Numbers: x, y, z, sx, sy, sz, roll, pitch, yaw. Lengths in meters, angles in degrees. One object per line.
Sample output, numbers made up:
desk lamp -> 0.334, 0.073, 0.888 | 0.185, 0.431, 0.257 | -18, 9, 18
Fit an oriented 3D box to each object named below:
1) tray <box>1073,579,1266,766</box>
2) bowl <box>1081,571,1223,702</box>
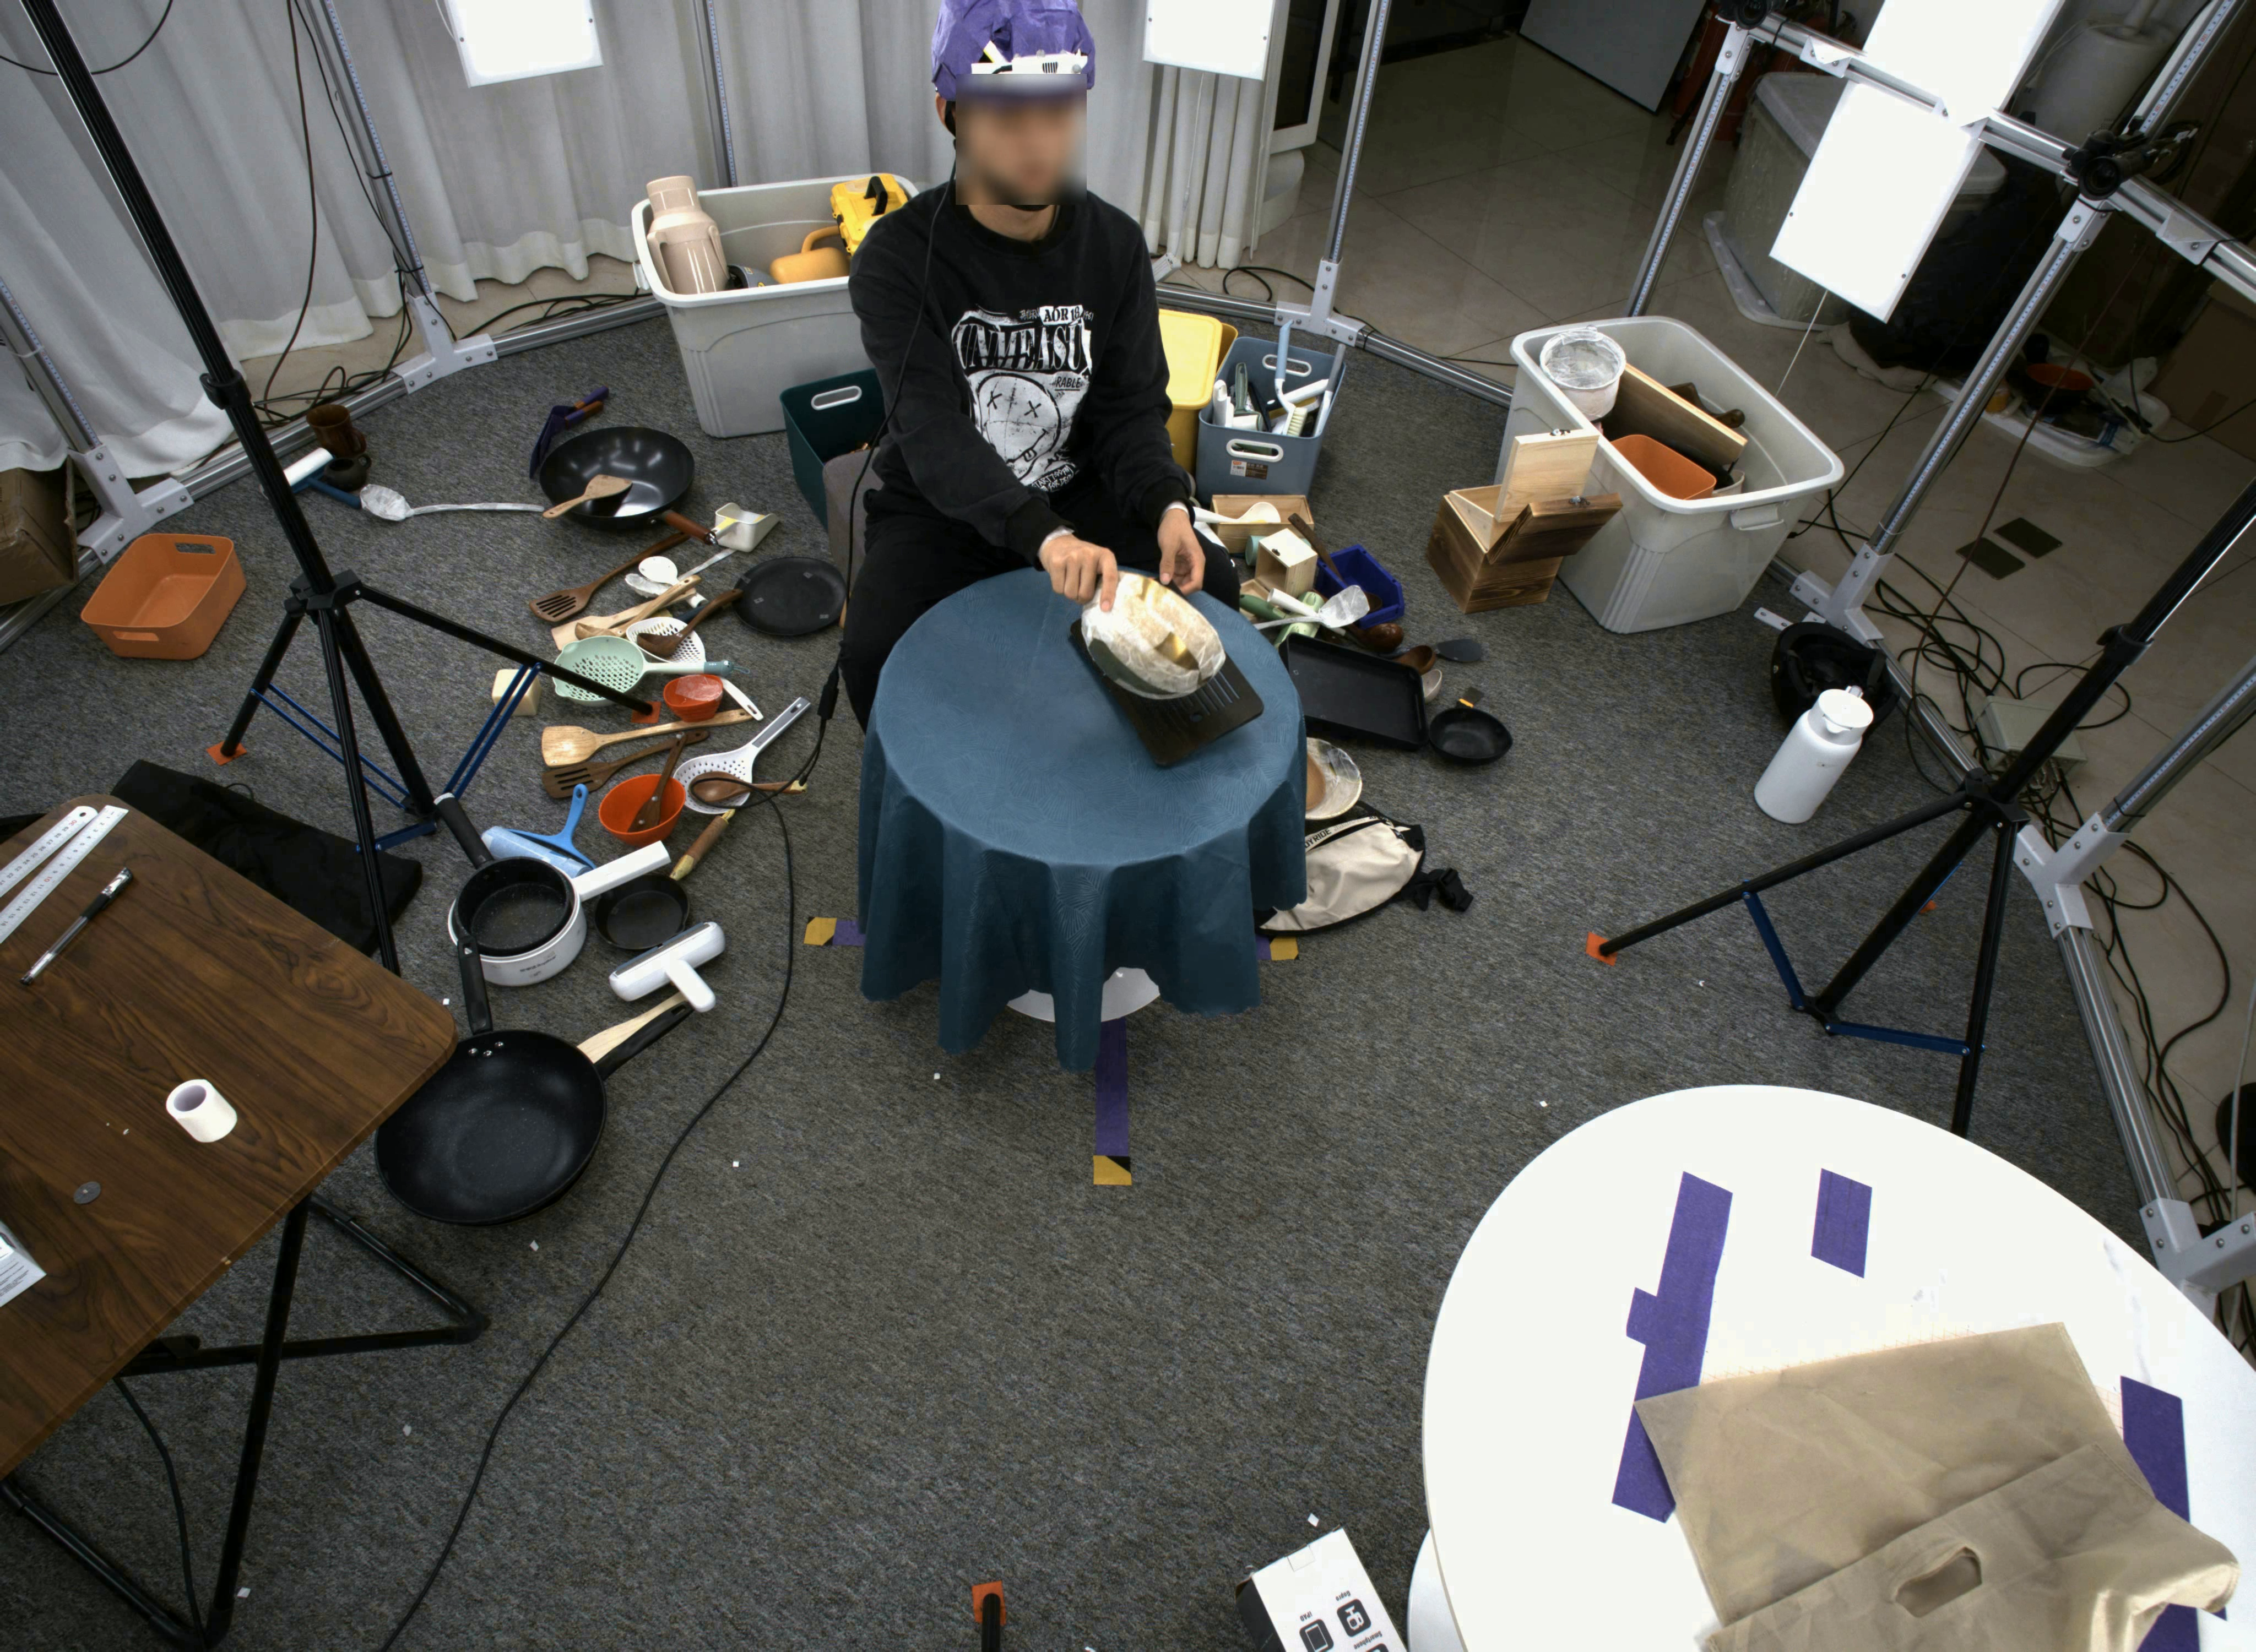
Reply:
tray -> 0.055, -0.224, 1.841 | 0.170, 0.018, 0.313 | -28, 54, -4
bowl -> 0.014, -0.229, 1.685 | 0.217, 0.210, 0.095 | 29, 74, 19
